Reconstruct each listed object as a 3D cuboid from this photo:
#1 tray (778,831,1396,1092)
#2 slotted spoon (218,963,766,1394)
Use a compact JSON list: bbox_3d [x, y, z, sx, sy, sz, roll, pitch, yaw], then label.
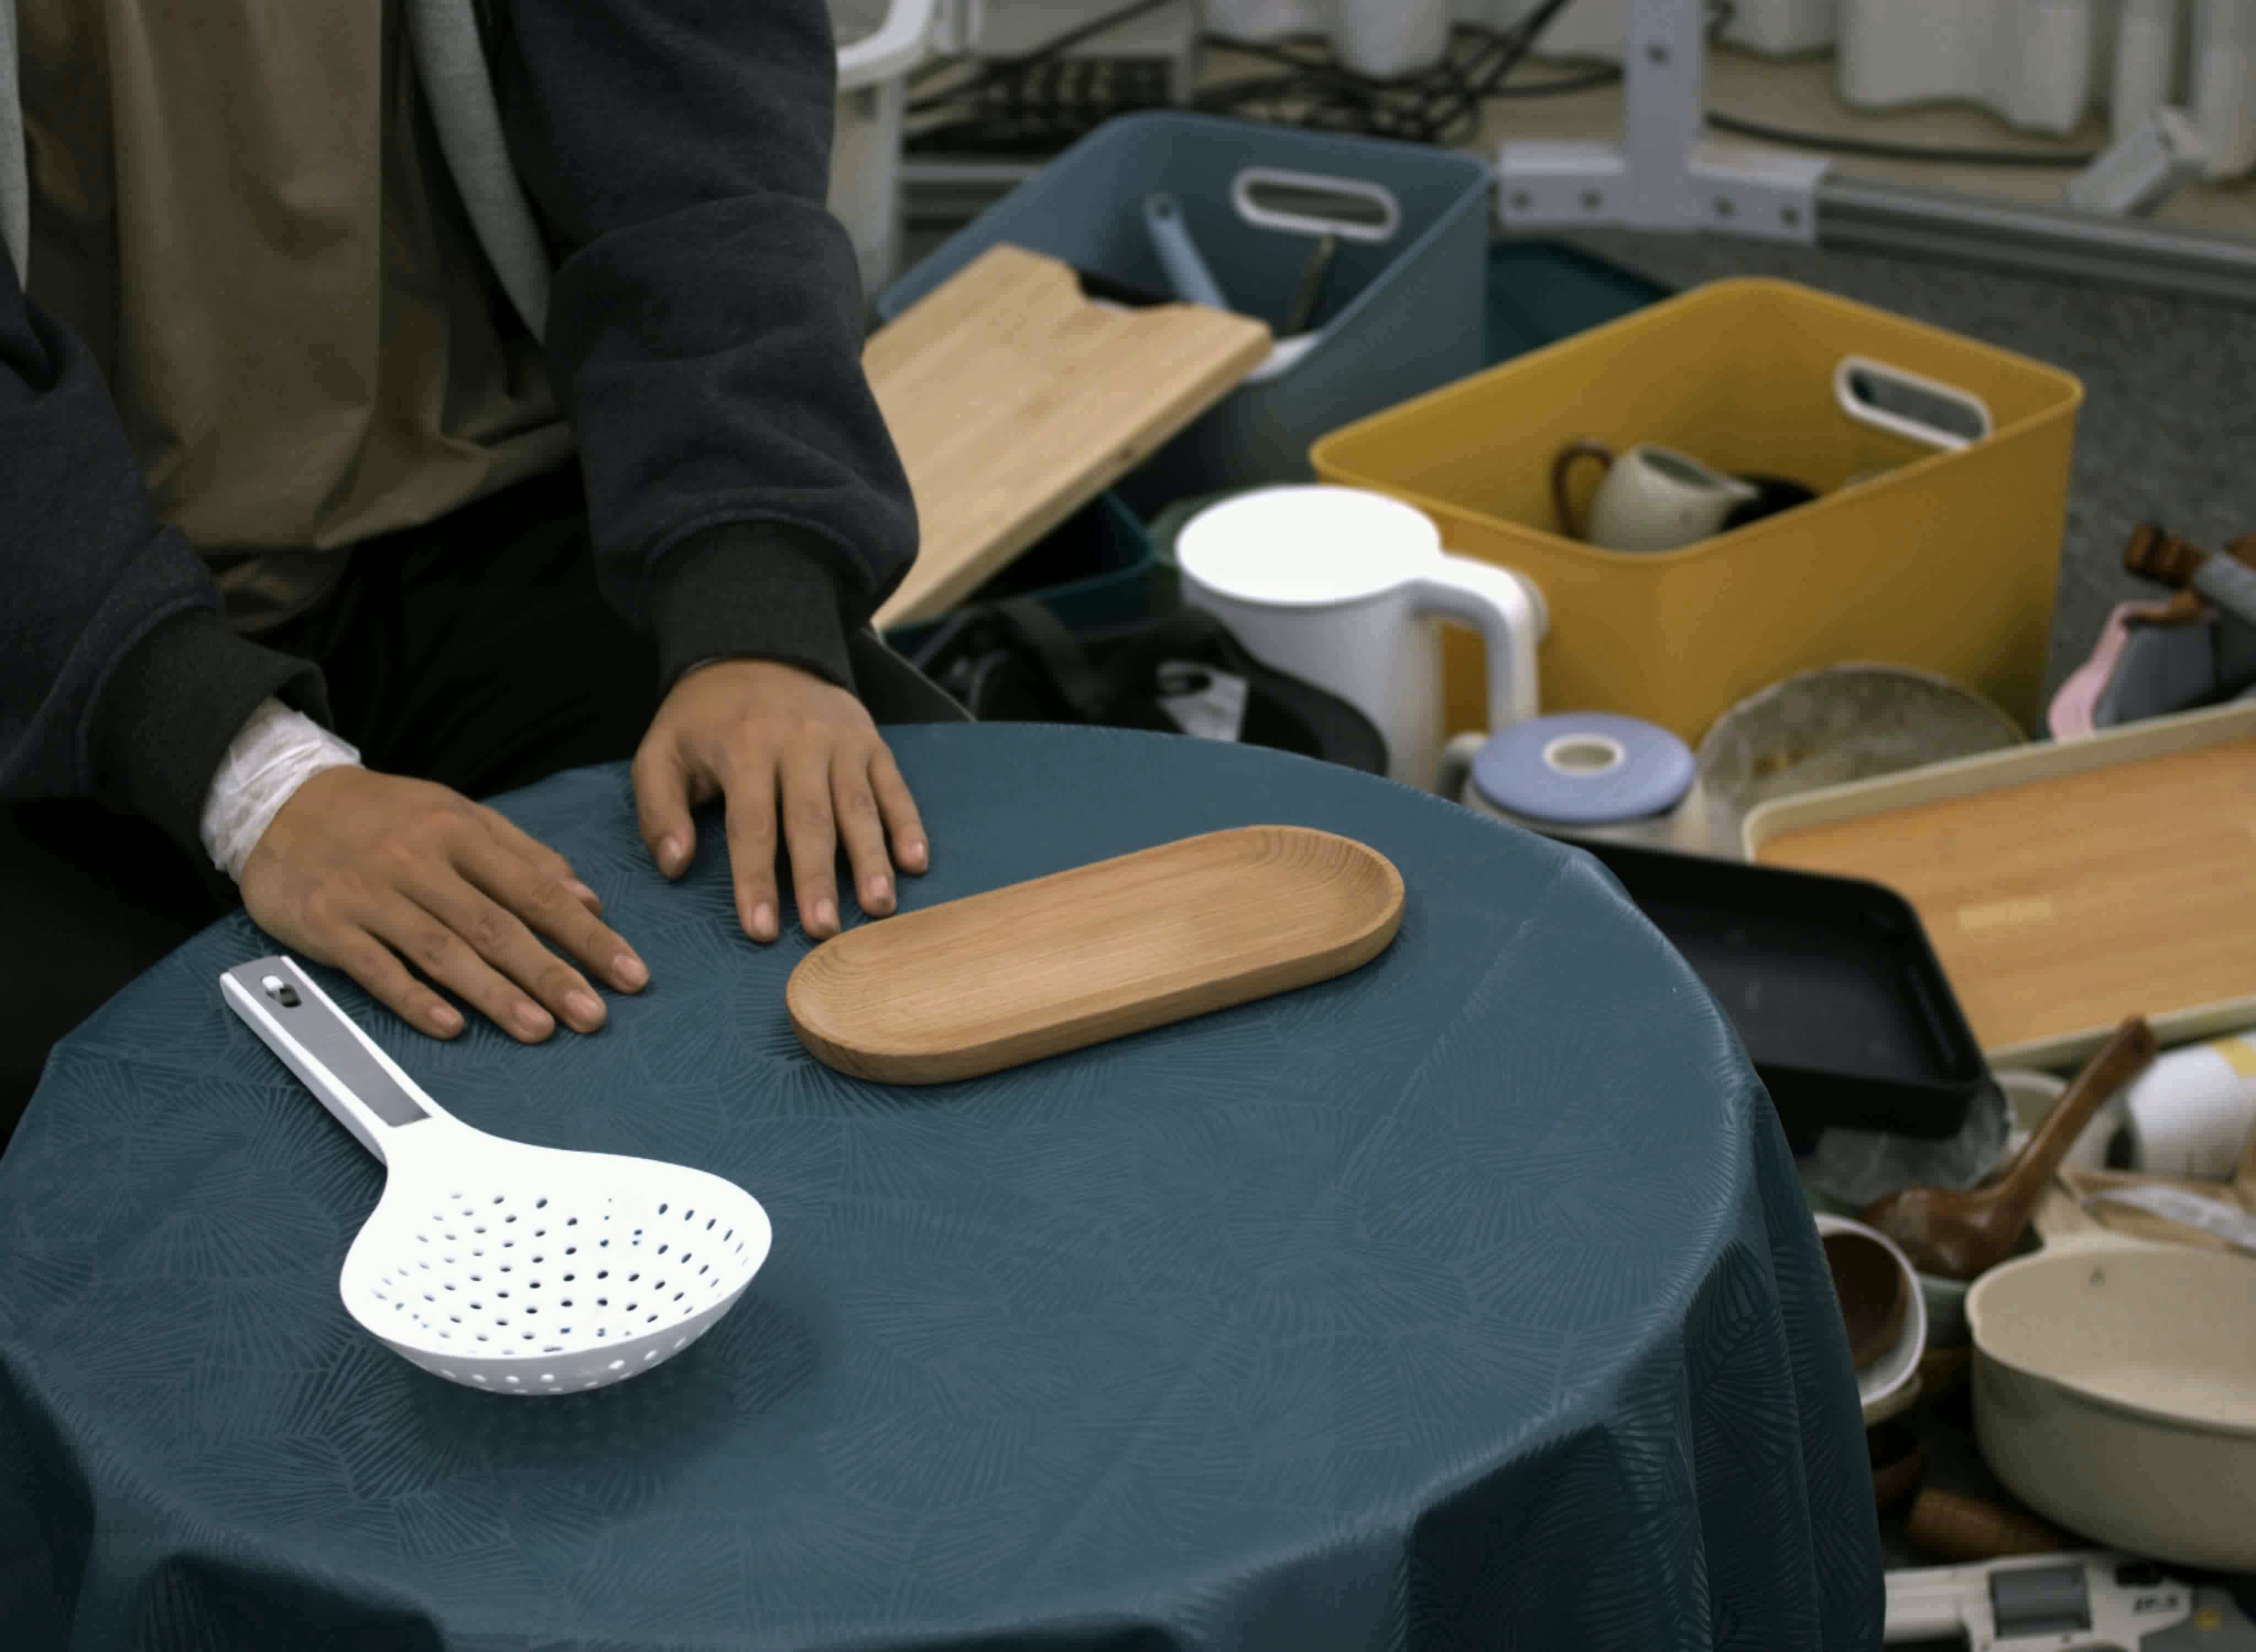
[{"bbox_3d":[-0.013,0.048,1.988,0.232,0.020,0.102,-16,29,-22],"label":"tray"},{"bbox_3d":[-0.232,0.110,1.859,0.137,0.045,0.351,-15,28,-25],"label":"slotted spoon"}]
